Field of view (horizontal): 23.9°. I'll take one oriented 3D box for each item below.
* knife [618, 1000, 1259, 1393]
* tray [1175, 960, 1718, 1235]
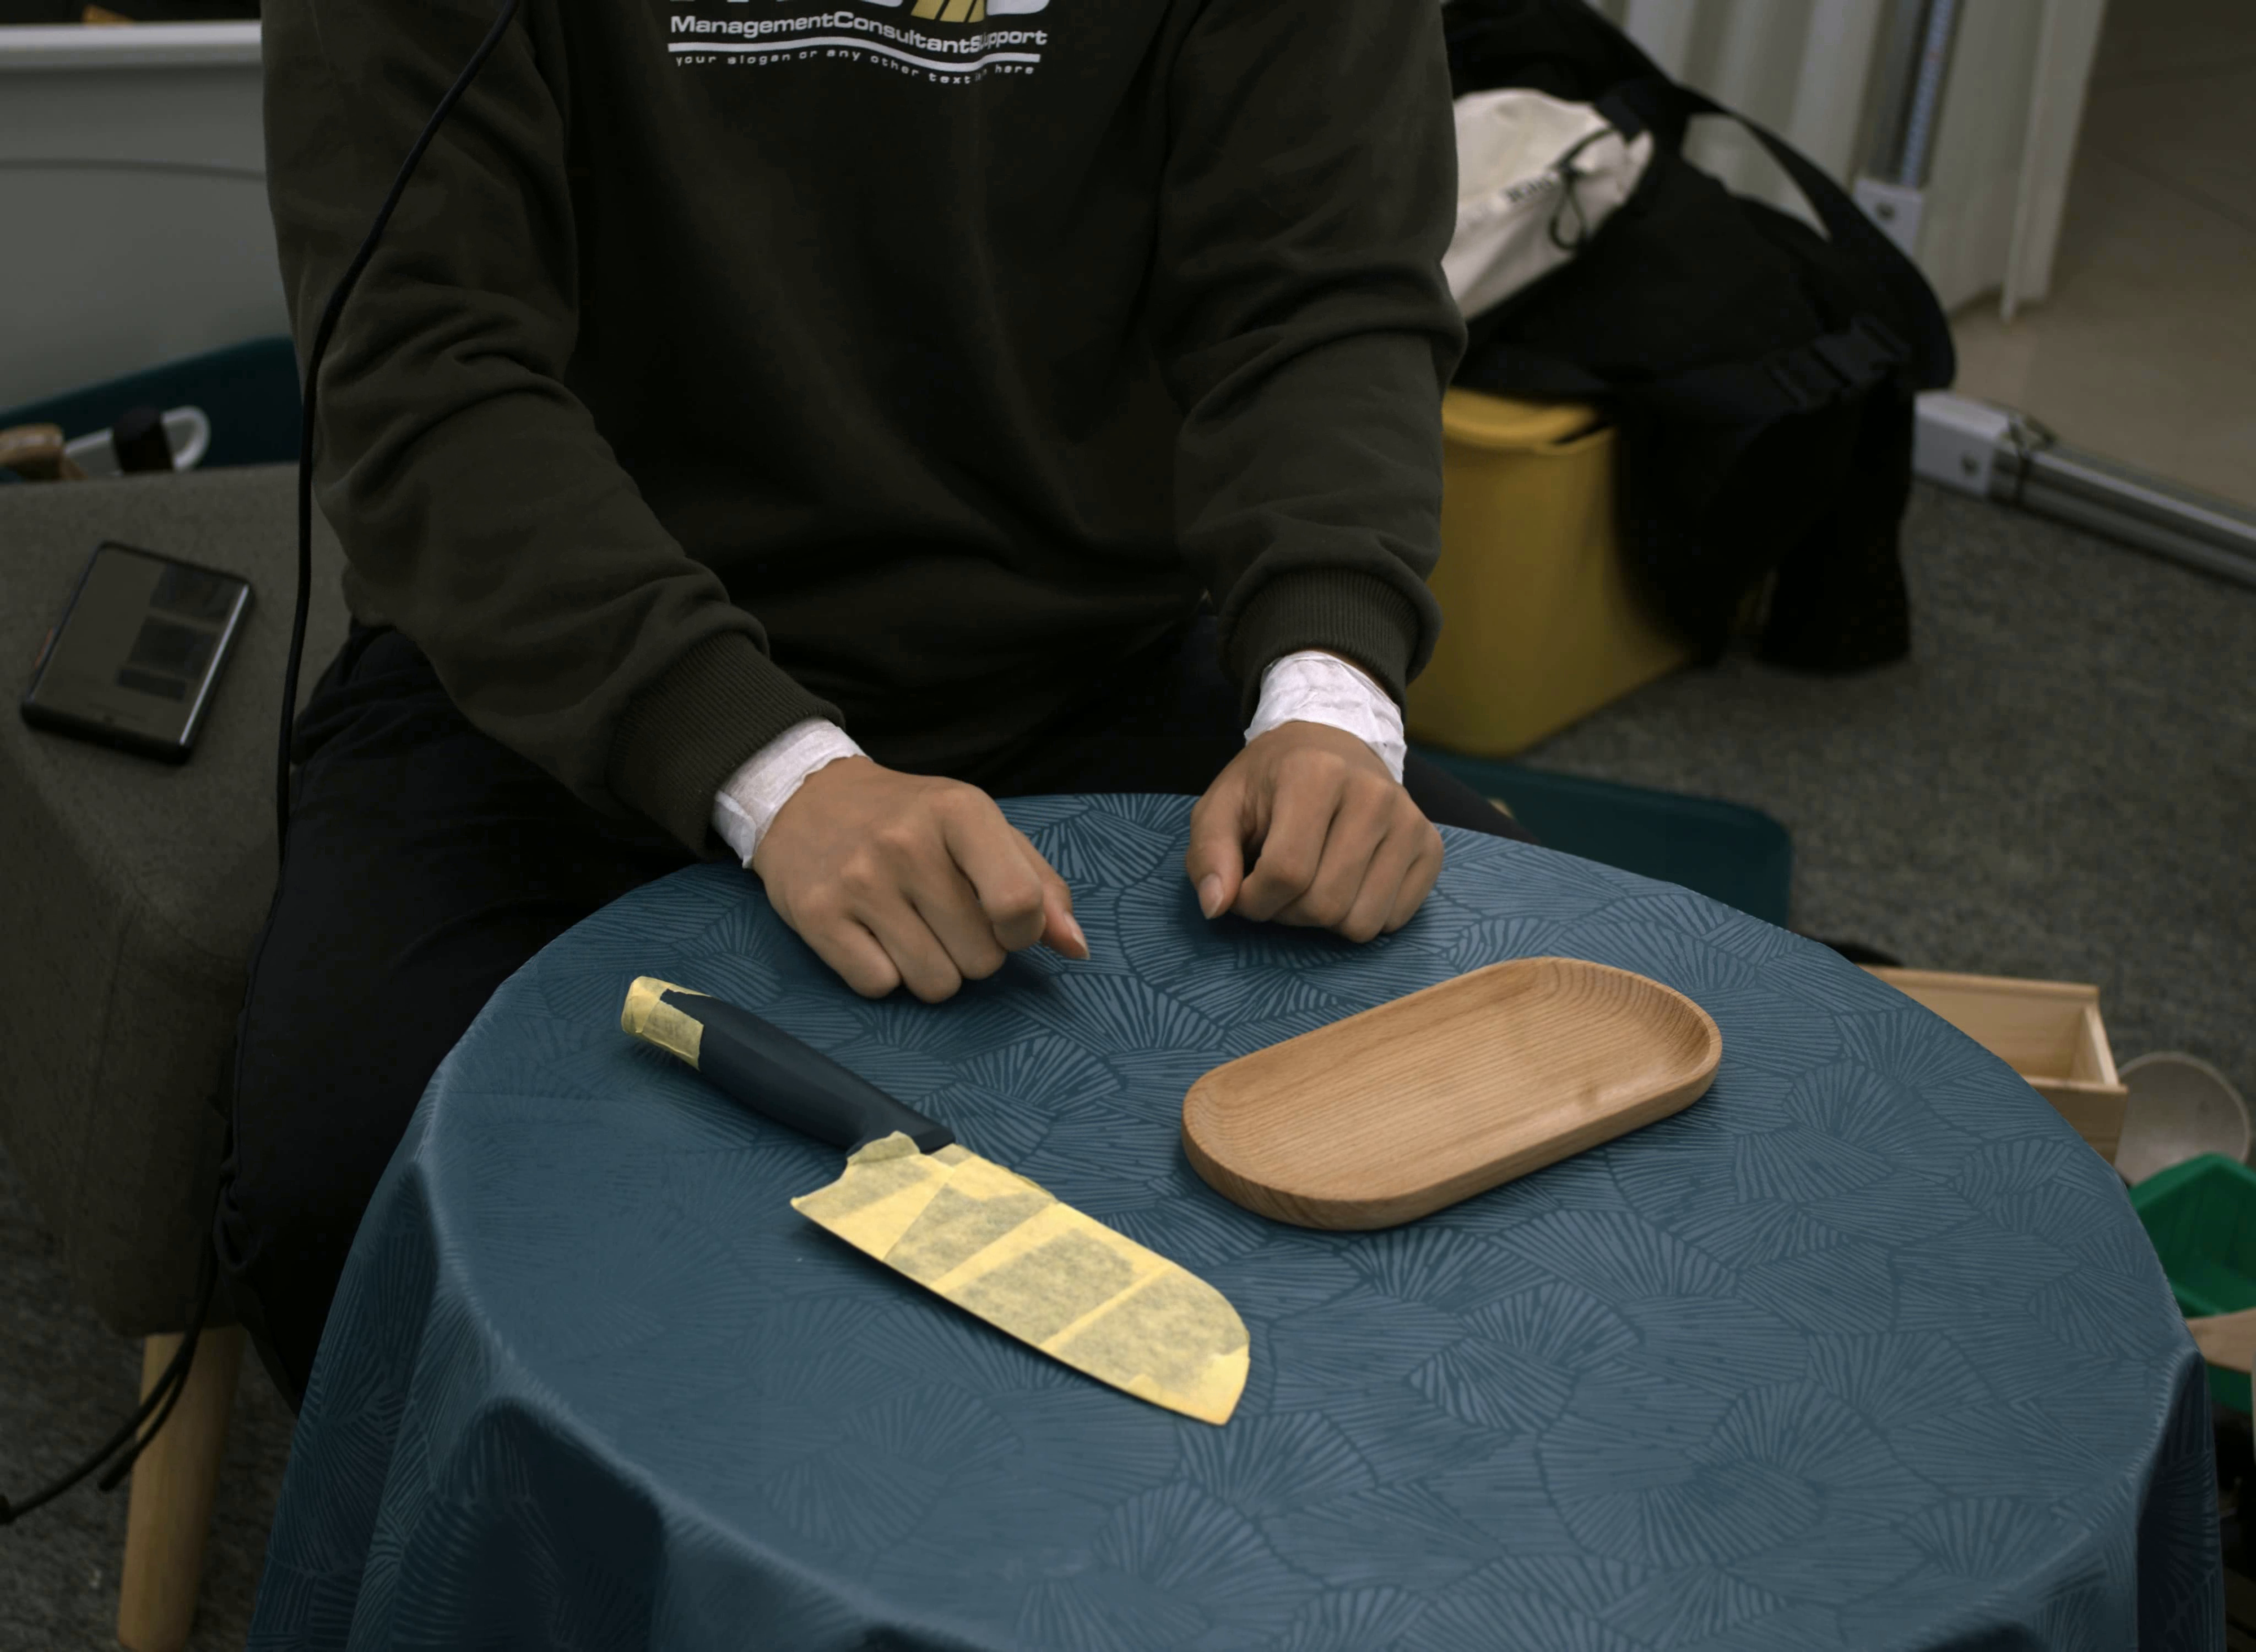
[{"bbox_3d":[-0.071,0.125,1.771,0.291,0.027,0.080,27,32,33],"label":"knife"},{"bbox_3d":[0.114,0.095,1.871,0.230,0.020,0.102,-19,35,-39],"label":"tray"}]
